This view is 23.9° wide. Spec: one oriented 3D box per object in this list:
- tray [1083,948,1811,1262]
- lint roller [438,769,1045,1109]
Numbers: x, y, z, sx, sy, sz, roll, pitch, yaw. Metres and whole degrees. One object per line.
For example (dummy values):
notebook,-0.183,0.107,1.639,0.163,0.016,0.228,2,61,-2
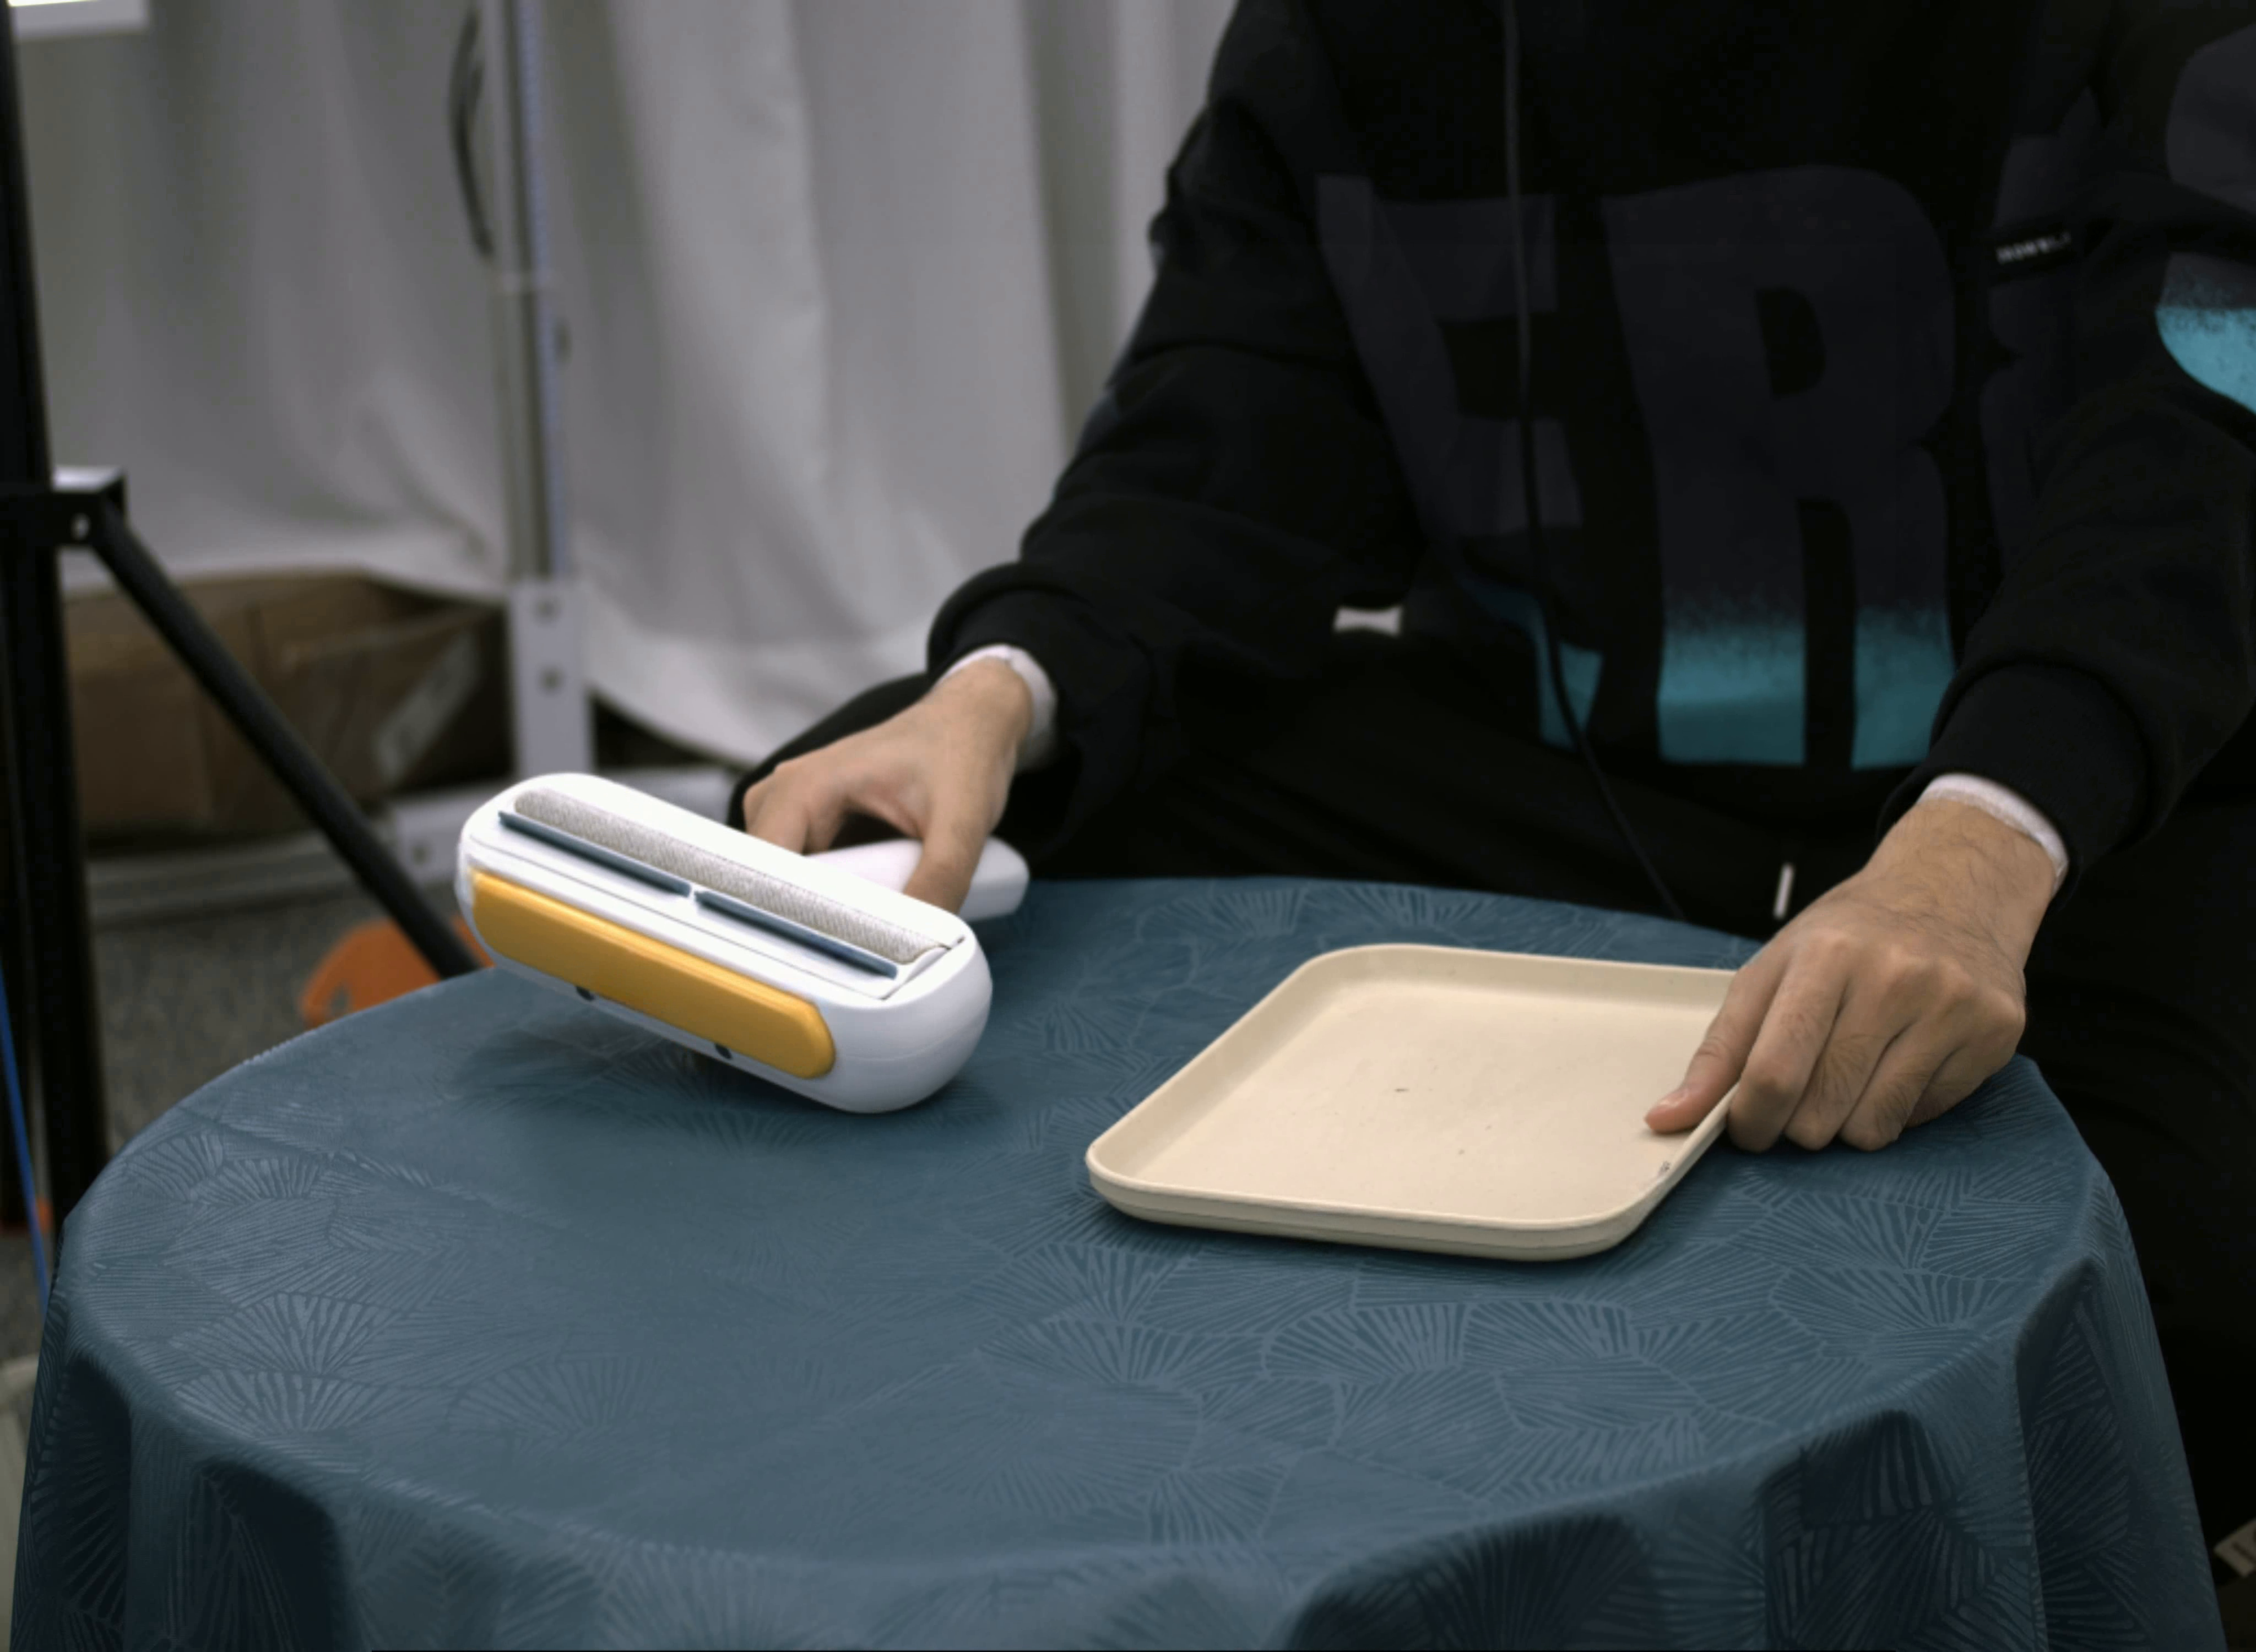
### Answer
tray,0.100,0.083,1.597,0.173,0.017,0.236,4,17,23
lint roller,-0.099,0.025,1.731,0.197,0.074,0.188,17,27,37
